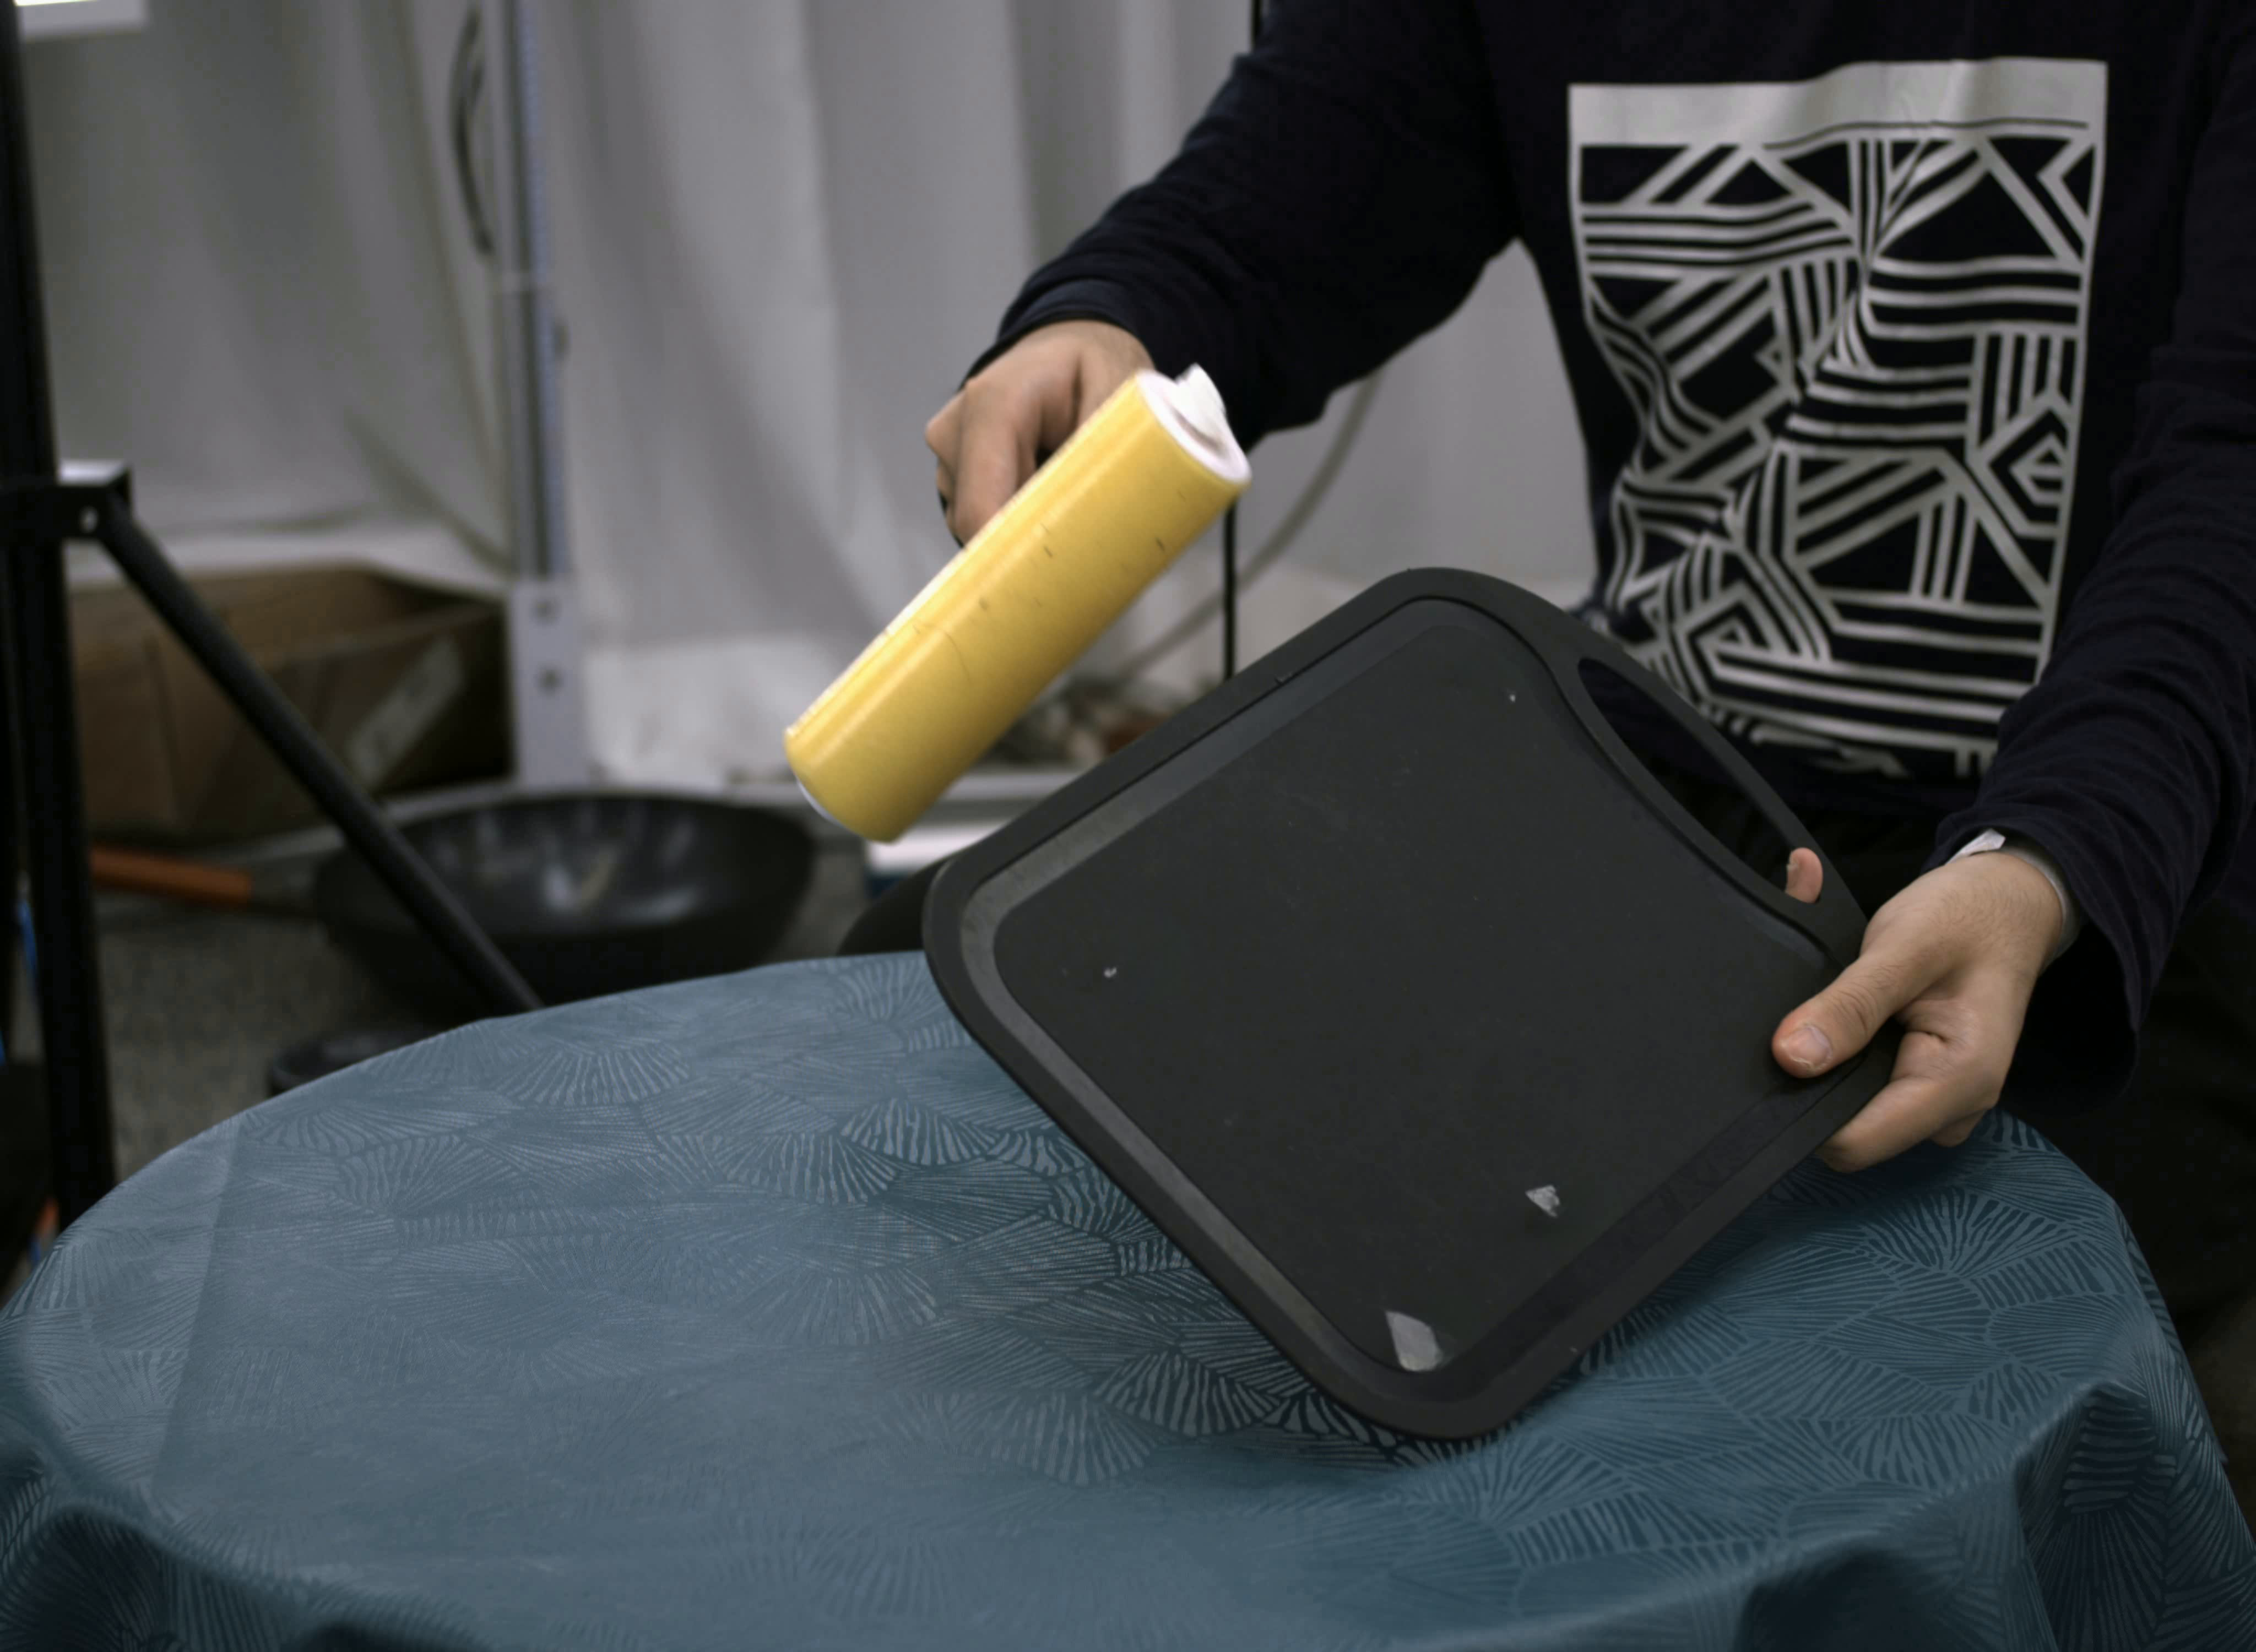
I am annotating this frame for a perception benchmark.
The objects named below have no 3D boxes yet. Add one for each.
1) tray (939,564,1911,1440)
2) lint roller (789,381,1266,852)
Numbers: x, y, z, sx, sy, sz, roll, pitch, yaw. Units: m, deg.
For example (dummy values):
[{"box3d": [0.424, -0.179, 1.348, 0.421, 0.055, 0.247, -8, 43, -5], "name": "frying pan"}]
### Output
[{"box3d": [0.094, 0.035, 1.474, 0.213, 0.010, 0.320, 45, 42, 11], "name": "tray"}, {"box3d": [-0.032, -0.092, 1.666, 0.175, 0.050, 0.193, -44, 20, 19], "name": "lint roller"}]
